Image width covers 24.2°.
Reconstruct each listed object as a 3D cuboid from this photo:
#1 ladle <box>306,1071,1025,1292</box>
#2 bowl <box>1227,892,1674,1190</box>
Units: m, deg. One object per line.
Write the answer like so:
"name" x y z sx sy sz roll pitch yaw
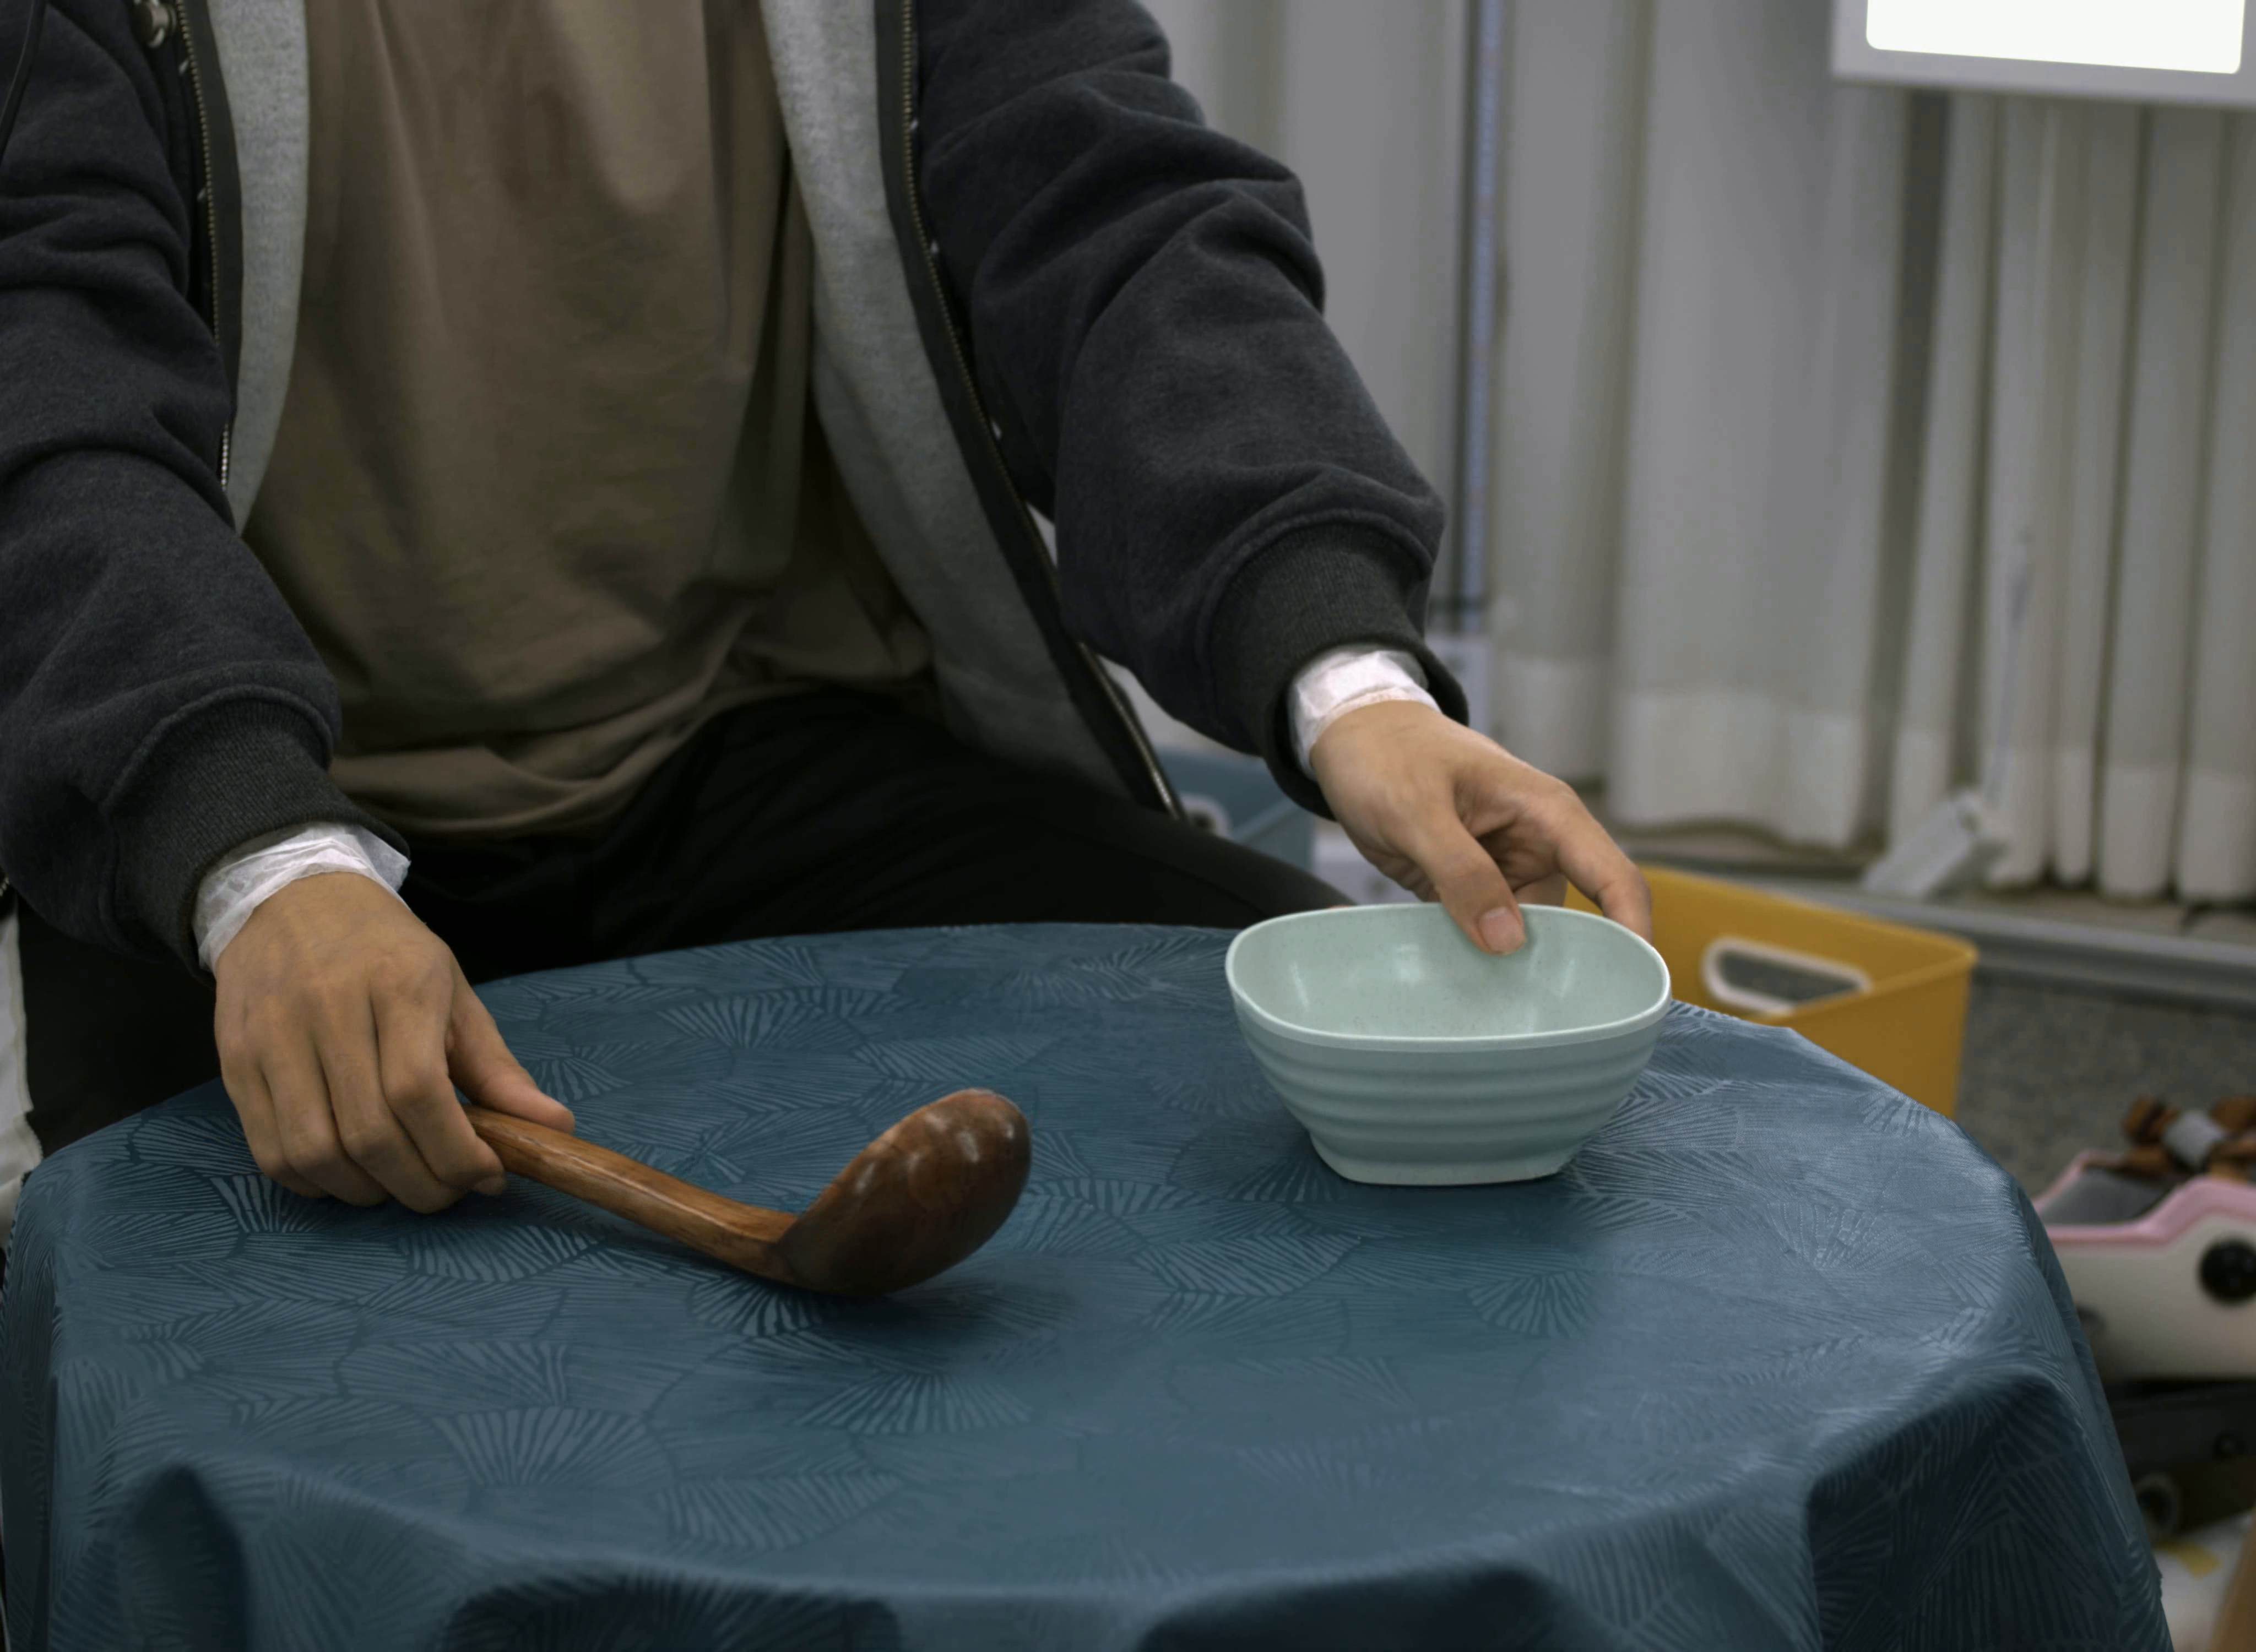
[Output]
"ladle" -0.147 0.082 1.569 0.270 0.077 0.082 15 15 36
"bowl" 0.101 0.071 1.660 0.151 0.059 0.150 0 19 0
